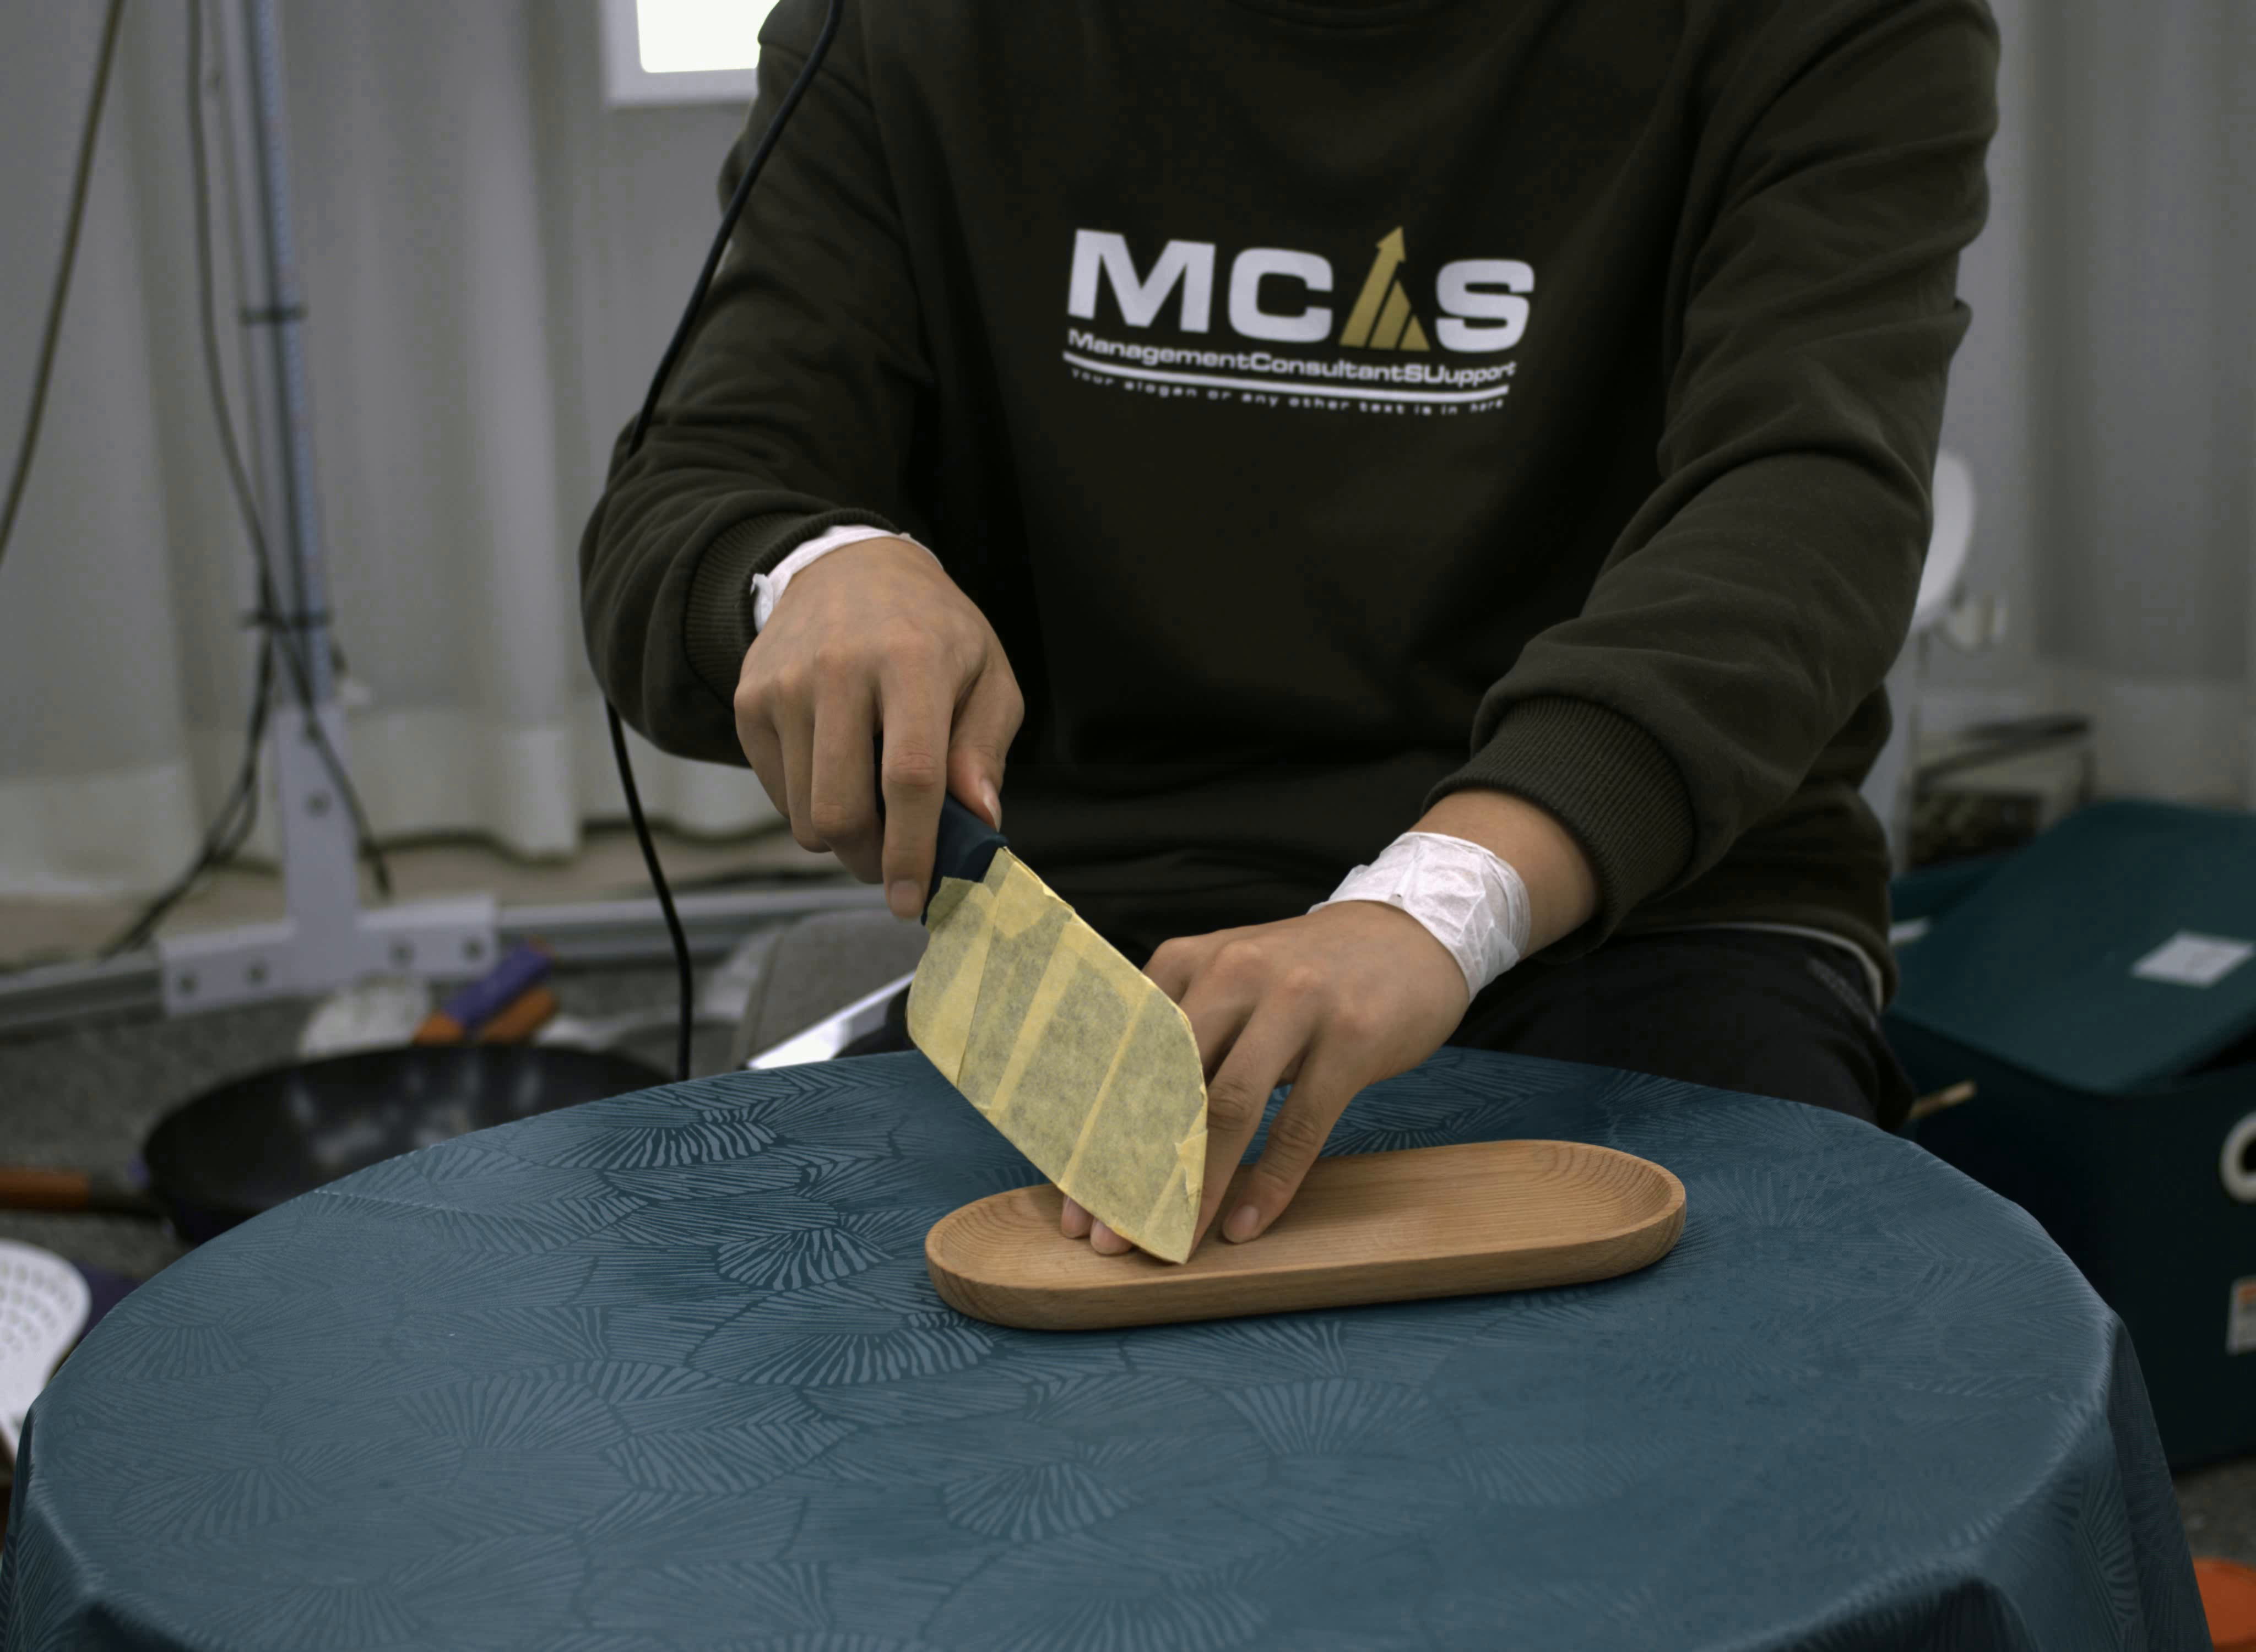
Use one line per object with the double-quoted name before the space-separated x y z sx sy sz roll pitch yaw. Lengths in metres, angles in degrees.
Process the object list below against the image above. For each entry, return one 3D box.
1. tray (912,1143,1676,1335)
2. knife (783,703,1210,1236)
"tray" 0.050 0.124 1.642 0.230 0.020 0.102 -6 13 -6
"knife" -0.045 0.041 1.712 0.027 0.081 0.293 15 20 -36
